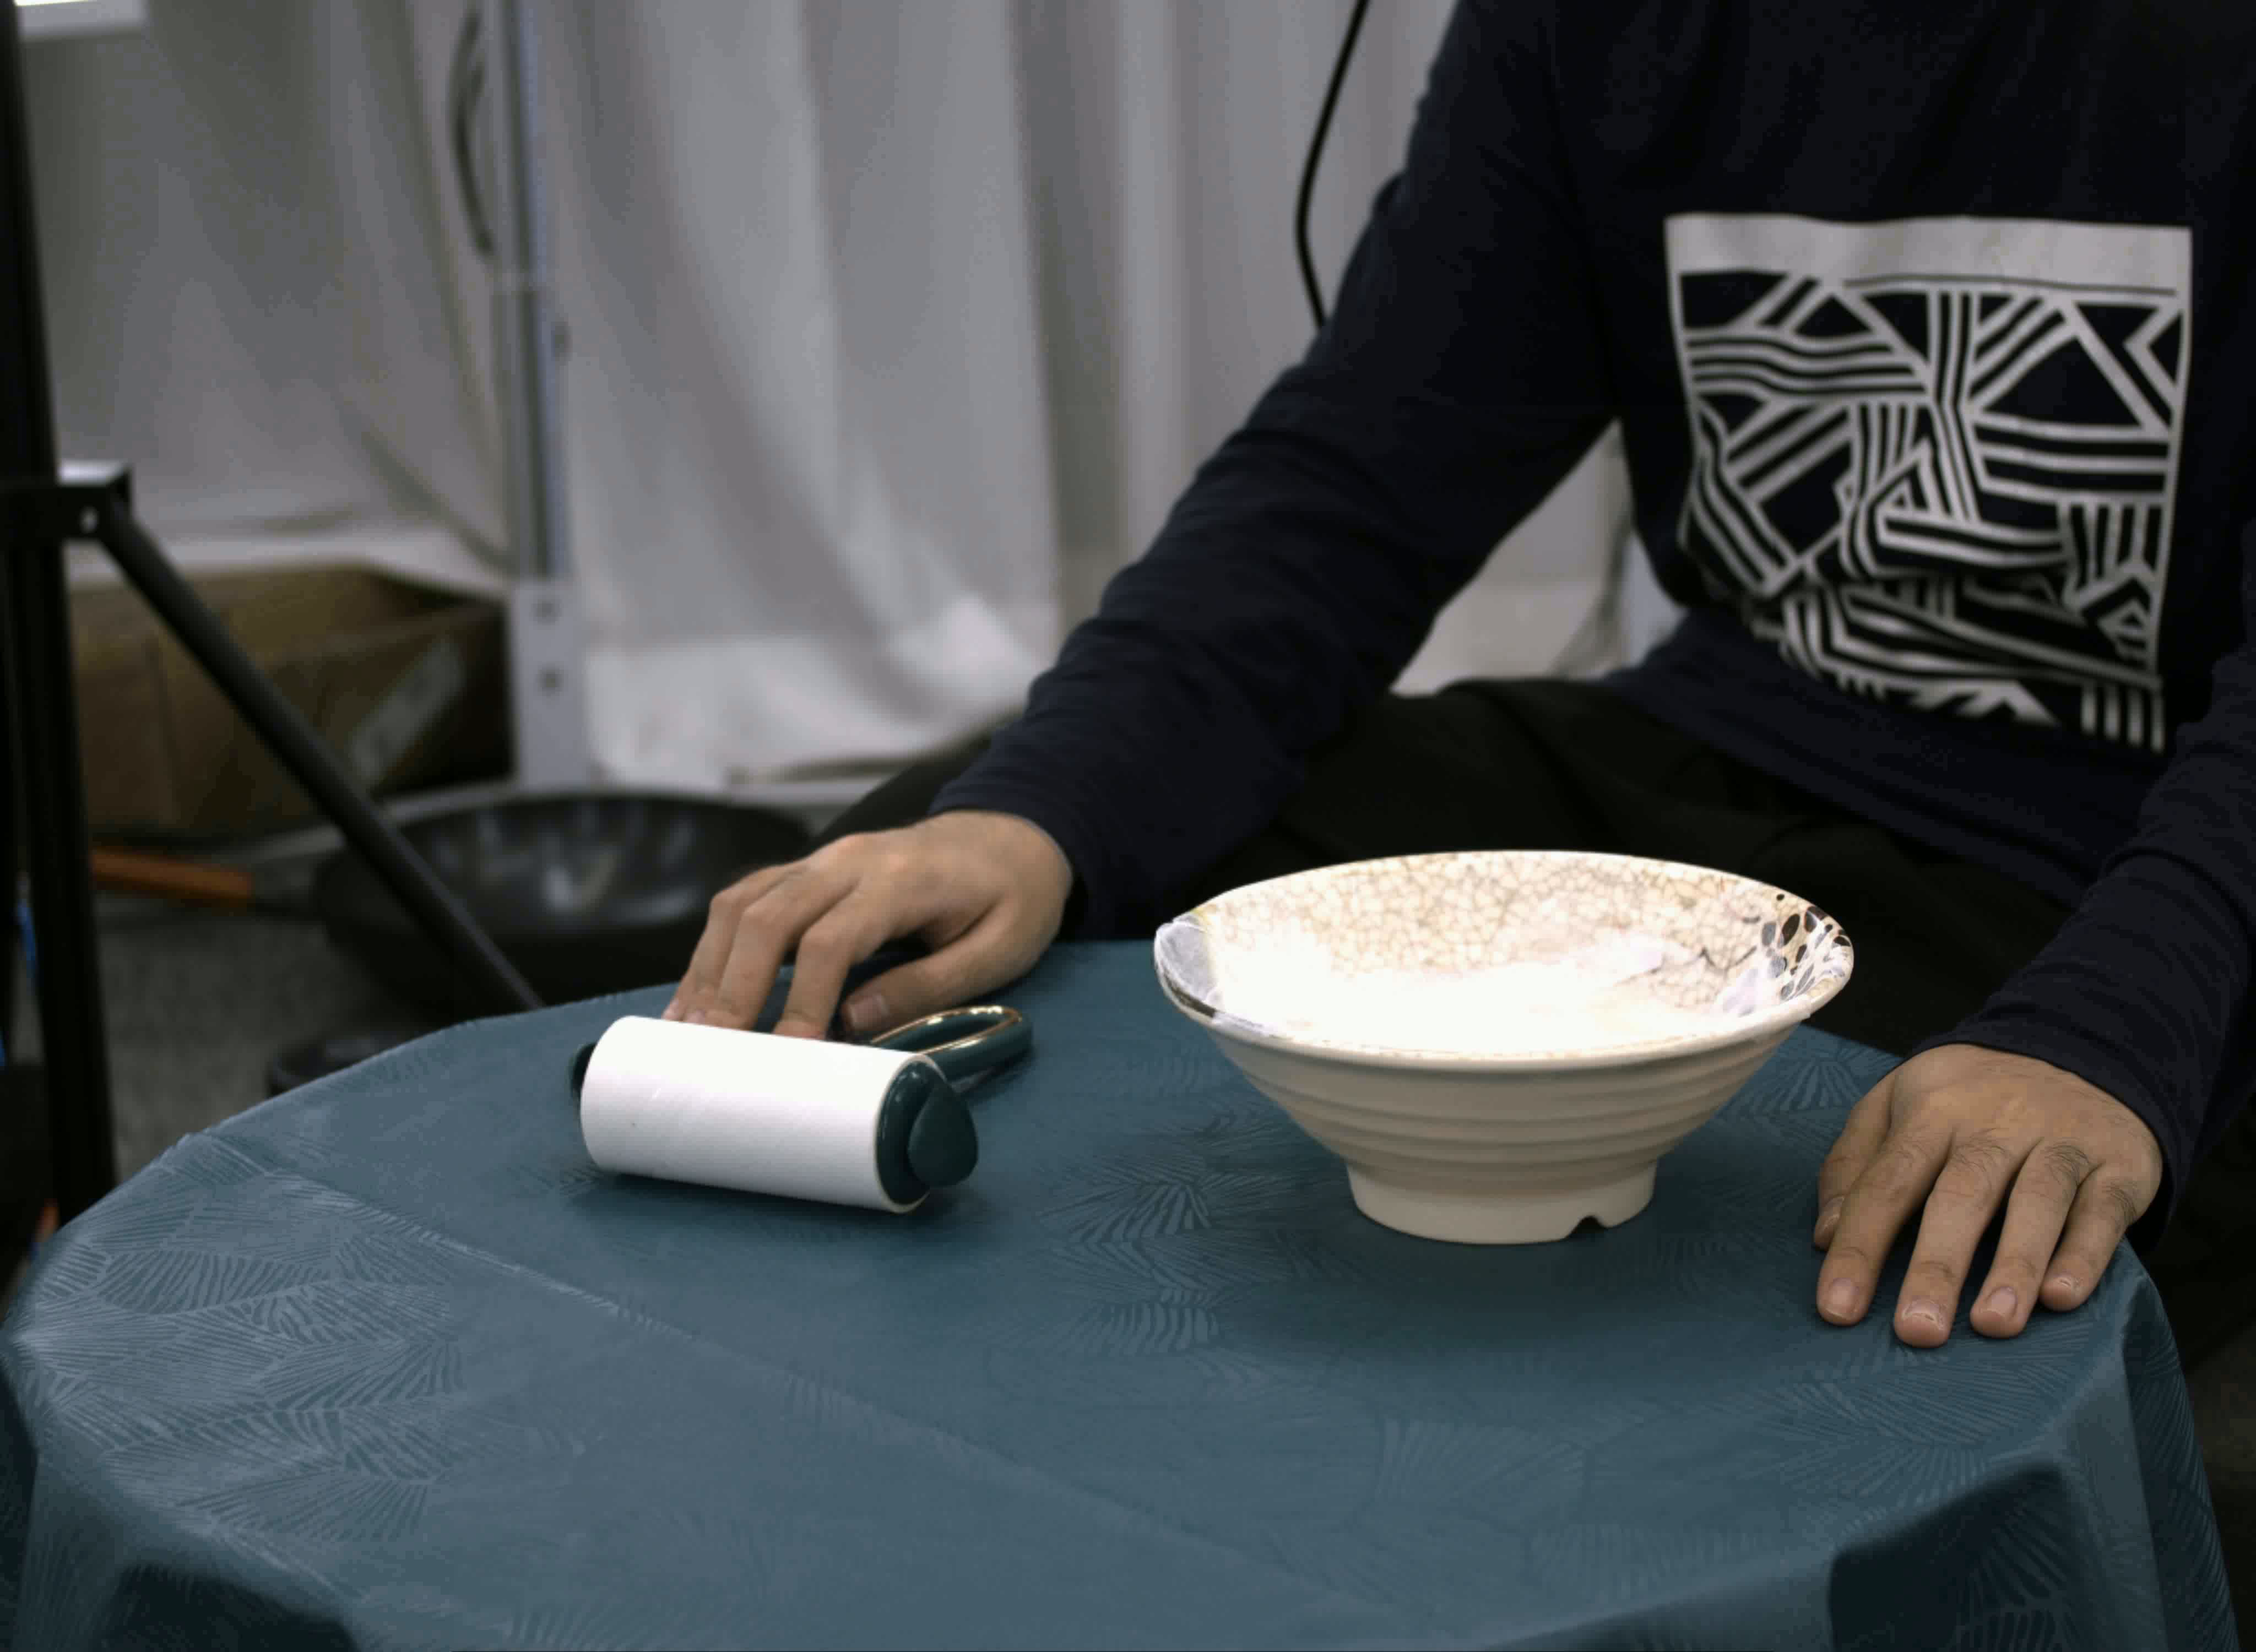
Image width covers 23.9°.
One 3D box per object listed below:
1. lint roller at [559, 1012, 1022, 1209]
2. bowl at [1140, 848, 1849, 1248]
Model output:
[{"bbox_3d":[-0.079,0.071,1.632,0.136,0.048,0.177,6,14,26],"label":"lint roller"},{"bbox_3d":[0.105,0.071,1.534,0.203,0.078,0.205,-1,15,-1],"label":"bowl"}]
